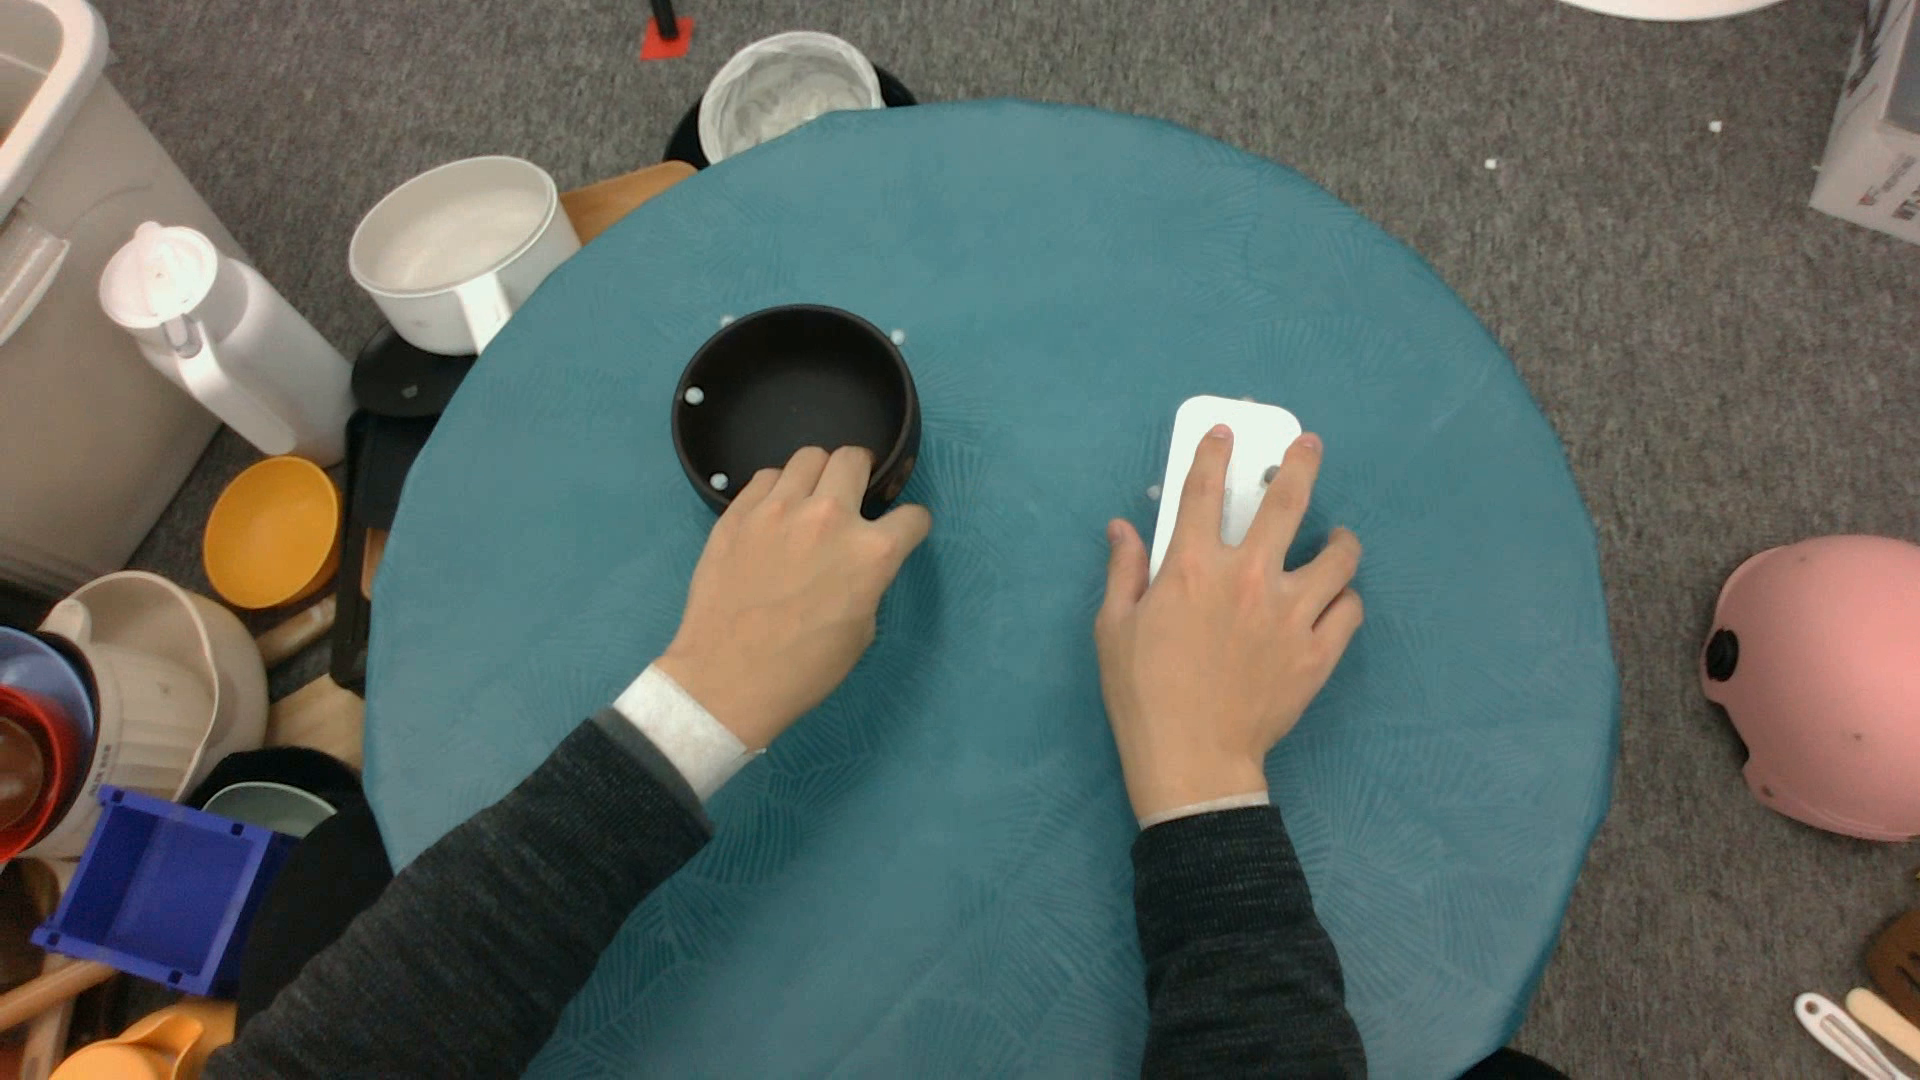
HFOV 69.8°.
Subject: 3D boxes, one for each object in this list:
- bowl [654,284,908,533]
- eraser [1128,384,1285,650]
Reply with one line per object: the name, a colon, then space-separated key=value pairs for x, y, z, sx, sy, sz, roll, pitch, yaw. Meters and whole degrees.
bowl: x=-0.083 y=-0.057 z=0.668 sx=0.118 sy=0.069 sz=0.118 roll=-1 pitch=70 yaw=2
eraser: x=0.117 y=-0.013 z=0.662 sx=0.063 sy=0.034 sz=0.132 roll=10 pitch=69 yaw=8
